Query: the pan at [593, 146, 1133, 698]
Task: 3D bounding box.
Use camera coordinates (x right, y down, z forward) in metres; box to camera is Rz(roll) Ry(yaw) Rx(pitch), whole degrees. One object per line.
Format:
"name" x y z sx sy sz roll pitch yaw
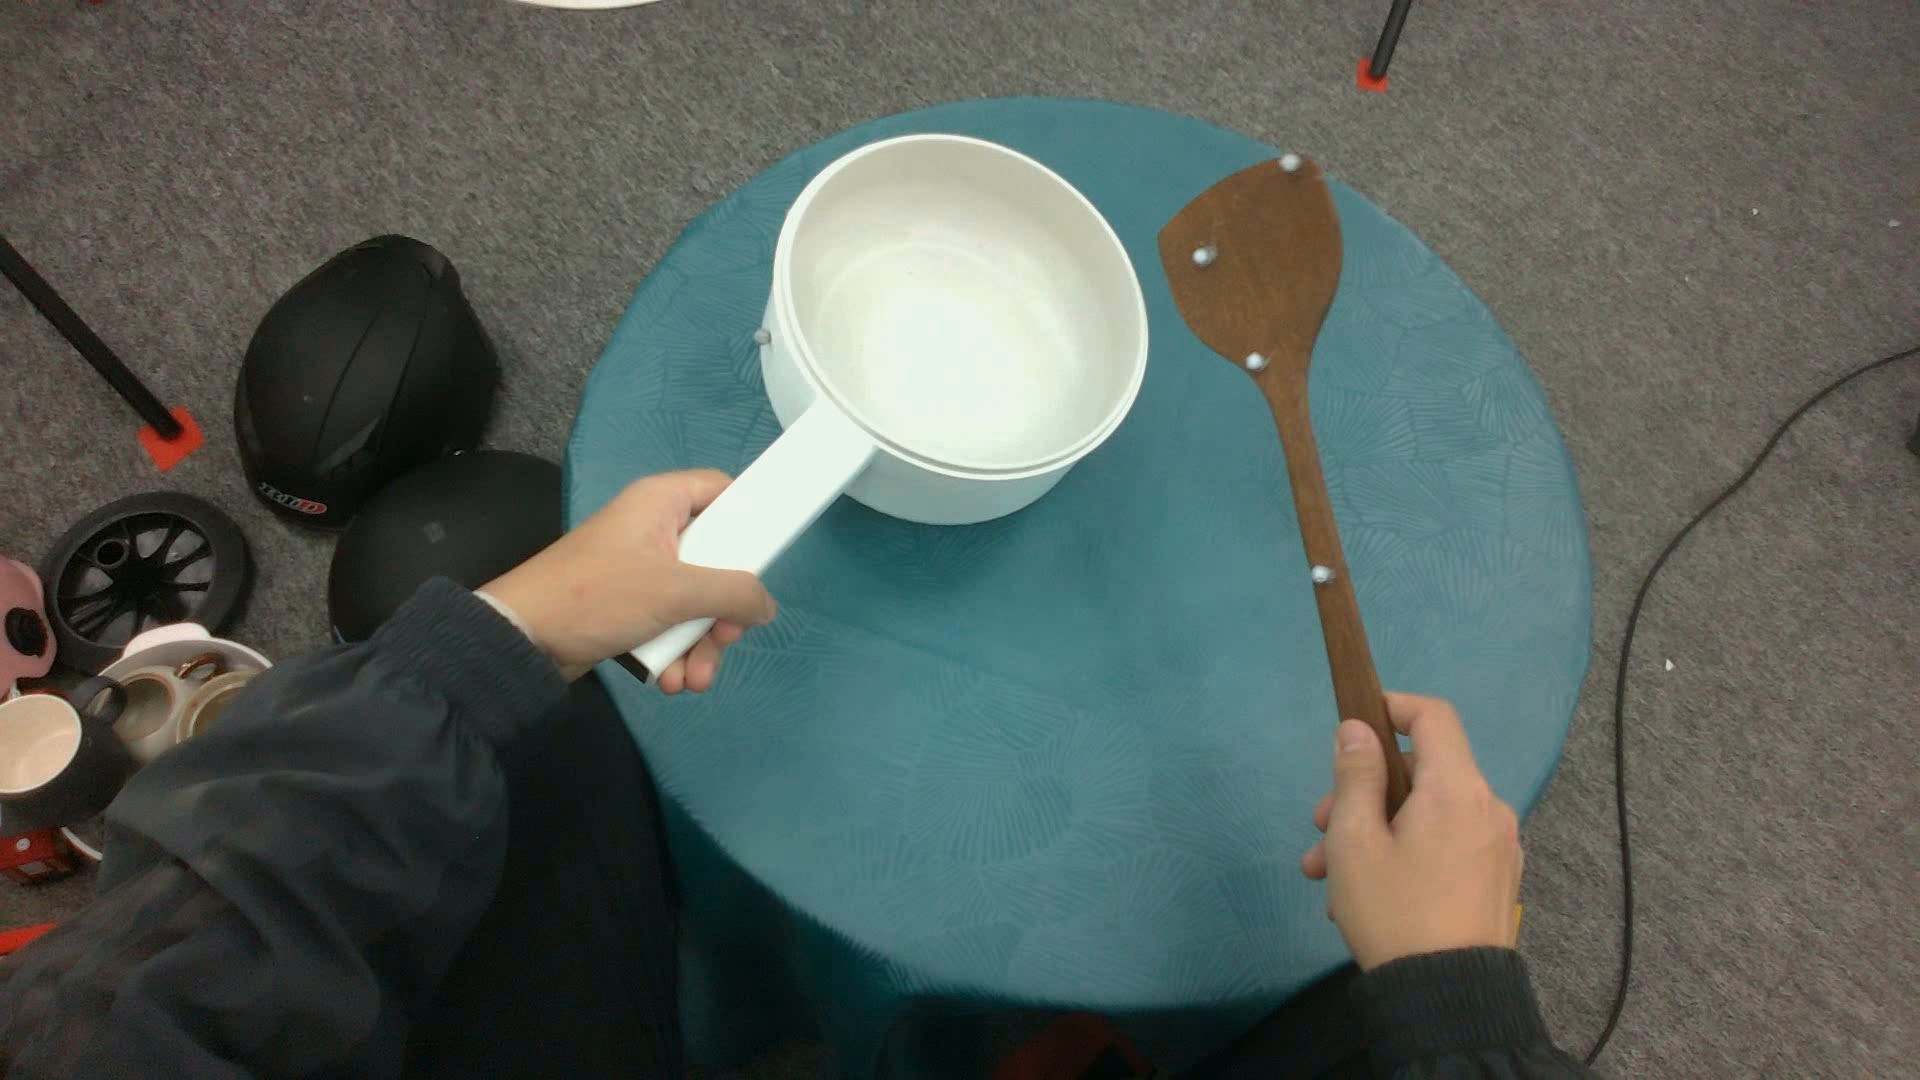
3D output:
"pan" -0.058 -0.053 0.729 0.201 0.101 0.356 38 64 1

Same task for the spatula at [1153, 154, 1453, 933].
"spatula" 0.173 -0.008 0.663 0.096 0.016 0.387 -22 69 32
